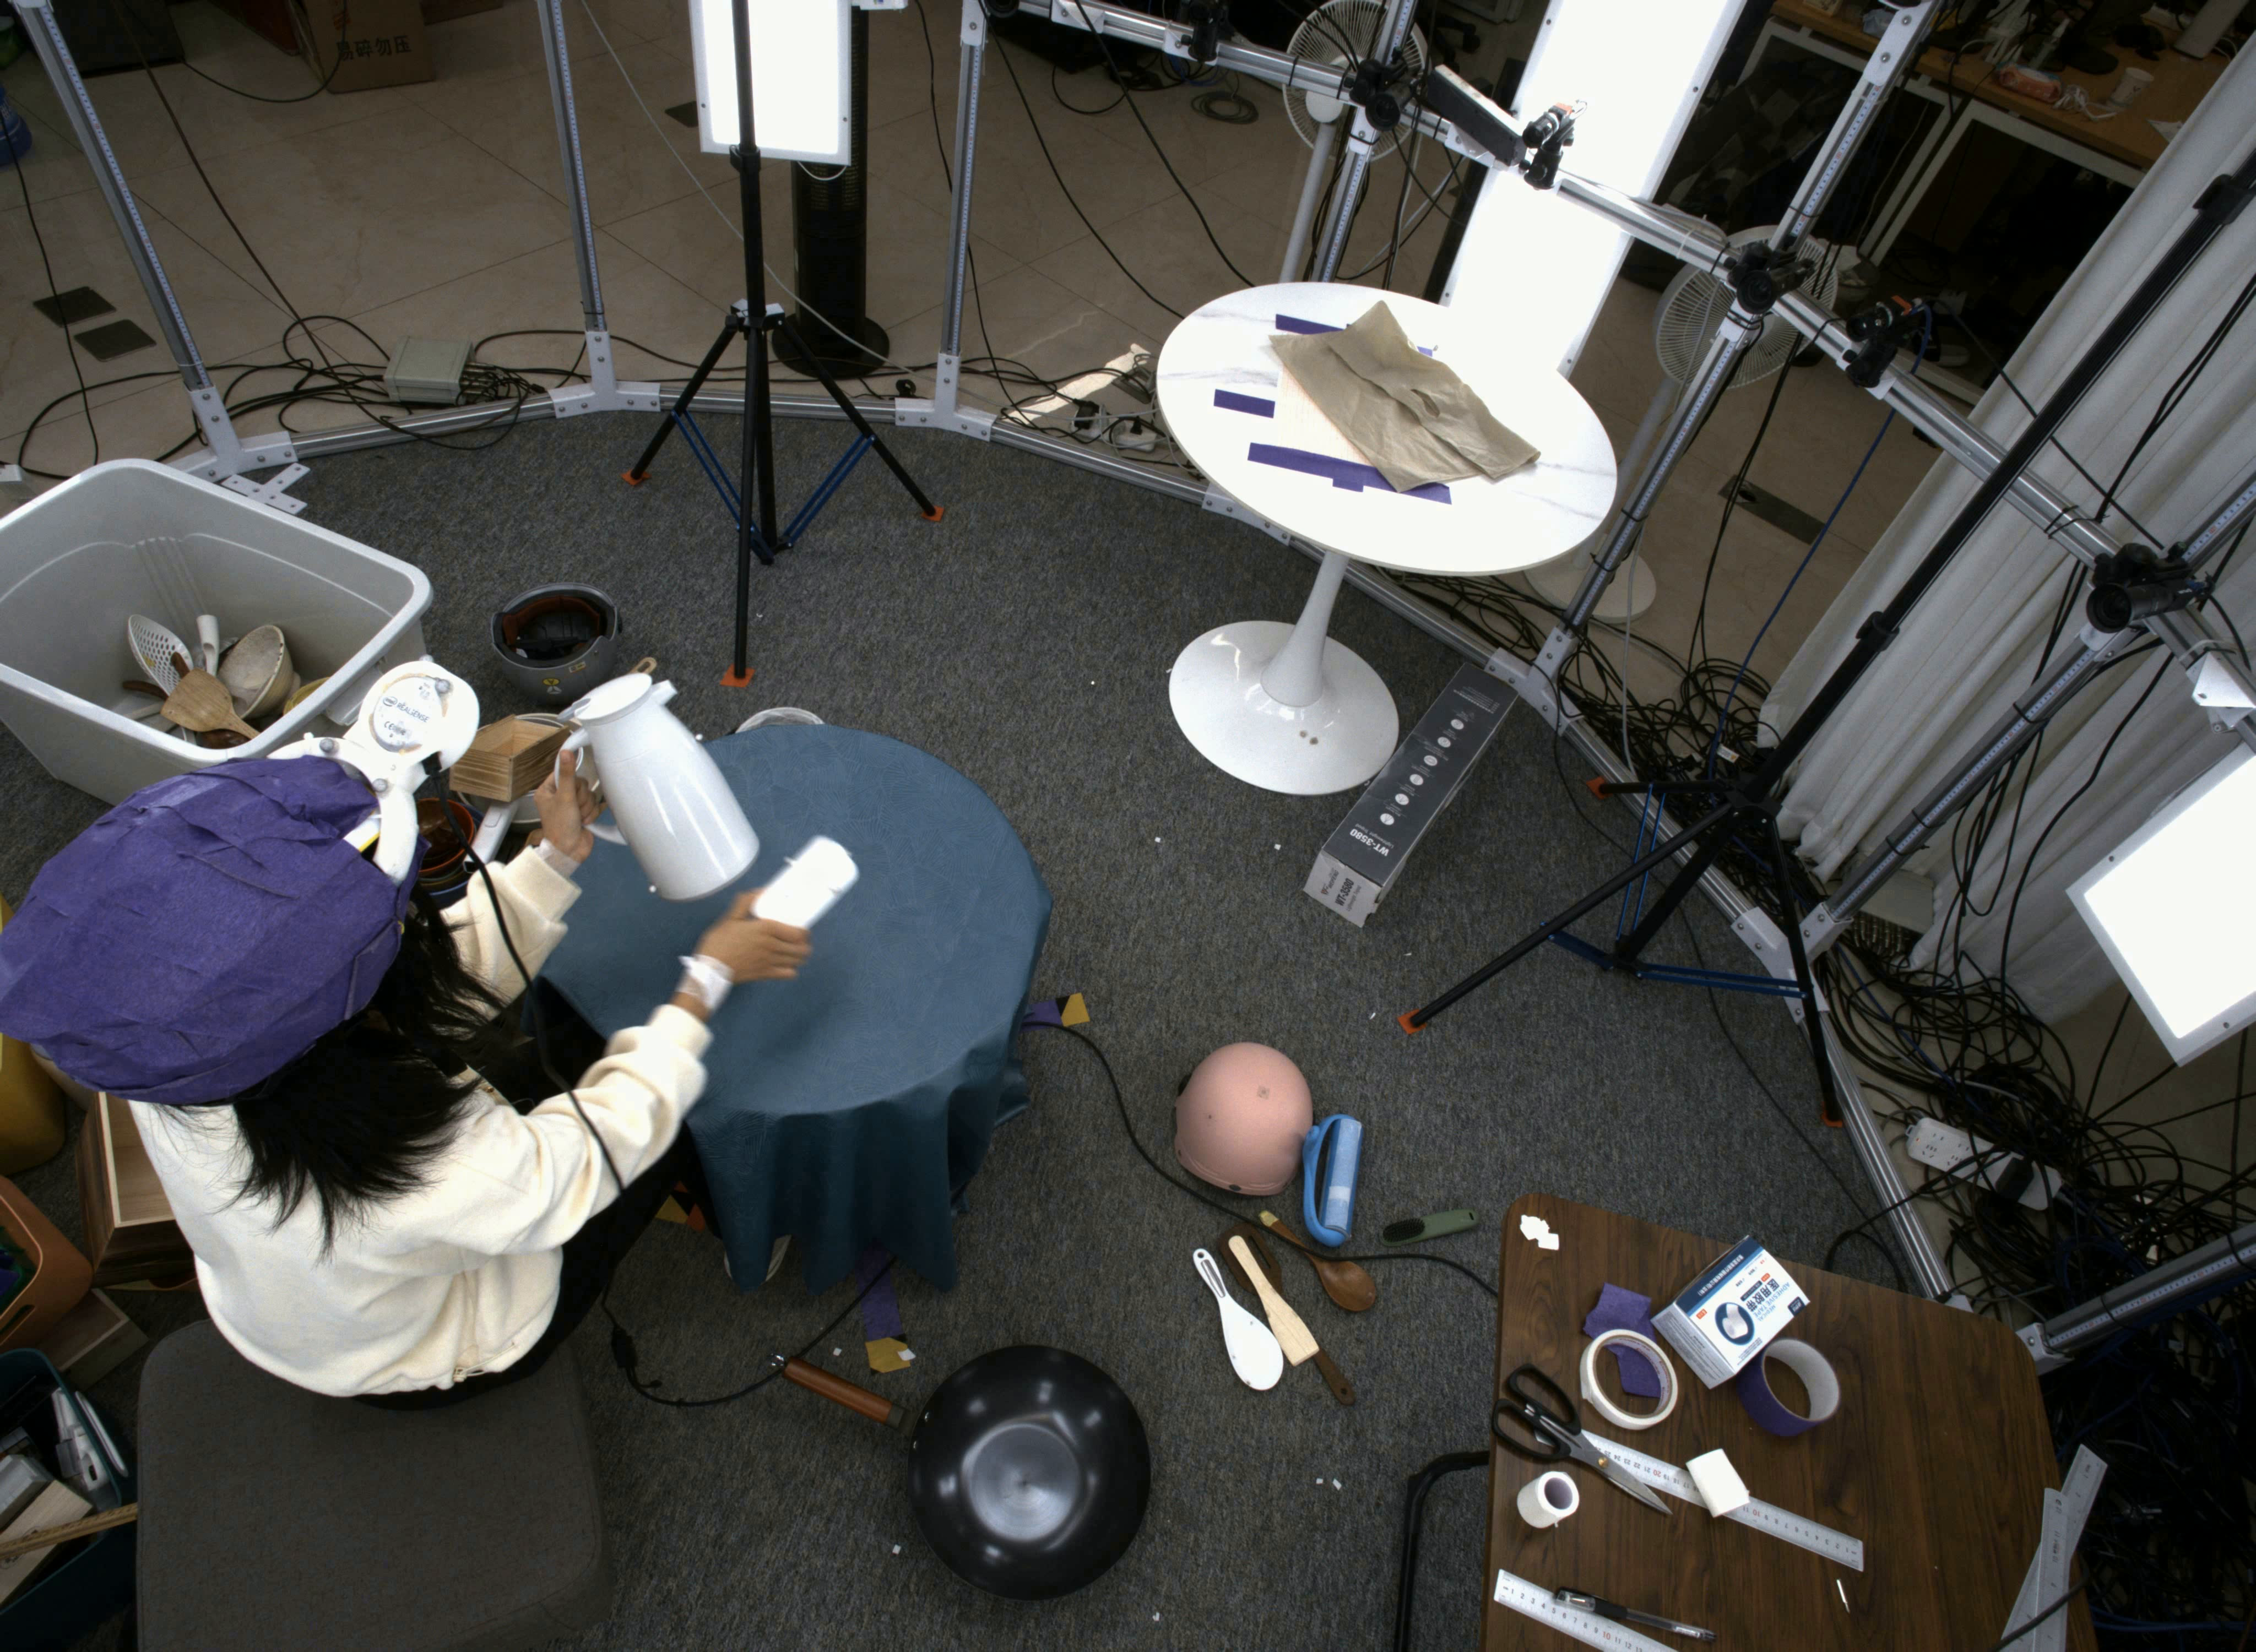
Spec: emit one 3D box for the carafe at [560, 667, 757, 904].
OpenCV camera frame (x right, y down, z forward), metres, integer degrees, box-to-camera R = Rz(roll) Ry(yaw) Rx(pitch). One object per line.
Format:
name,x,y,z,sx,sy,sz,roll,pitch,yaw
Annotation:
carafe,-0.543,-0.044,1.425,0.167,0.258,0.128,-30,35,-14

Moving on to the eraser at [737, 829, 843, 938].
eraser,-0.387,0.063,1.483,0.131,0.033,0.065,-50,119,-26
